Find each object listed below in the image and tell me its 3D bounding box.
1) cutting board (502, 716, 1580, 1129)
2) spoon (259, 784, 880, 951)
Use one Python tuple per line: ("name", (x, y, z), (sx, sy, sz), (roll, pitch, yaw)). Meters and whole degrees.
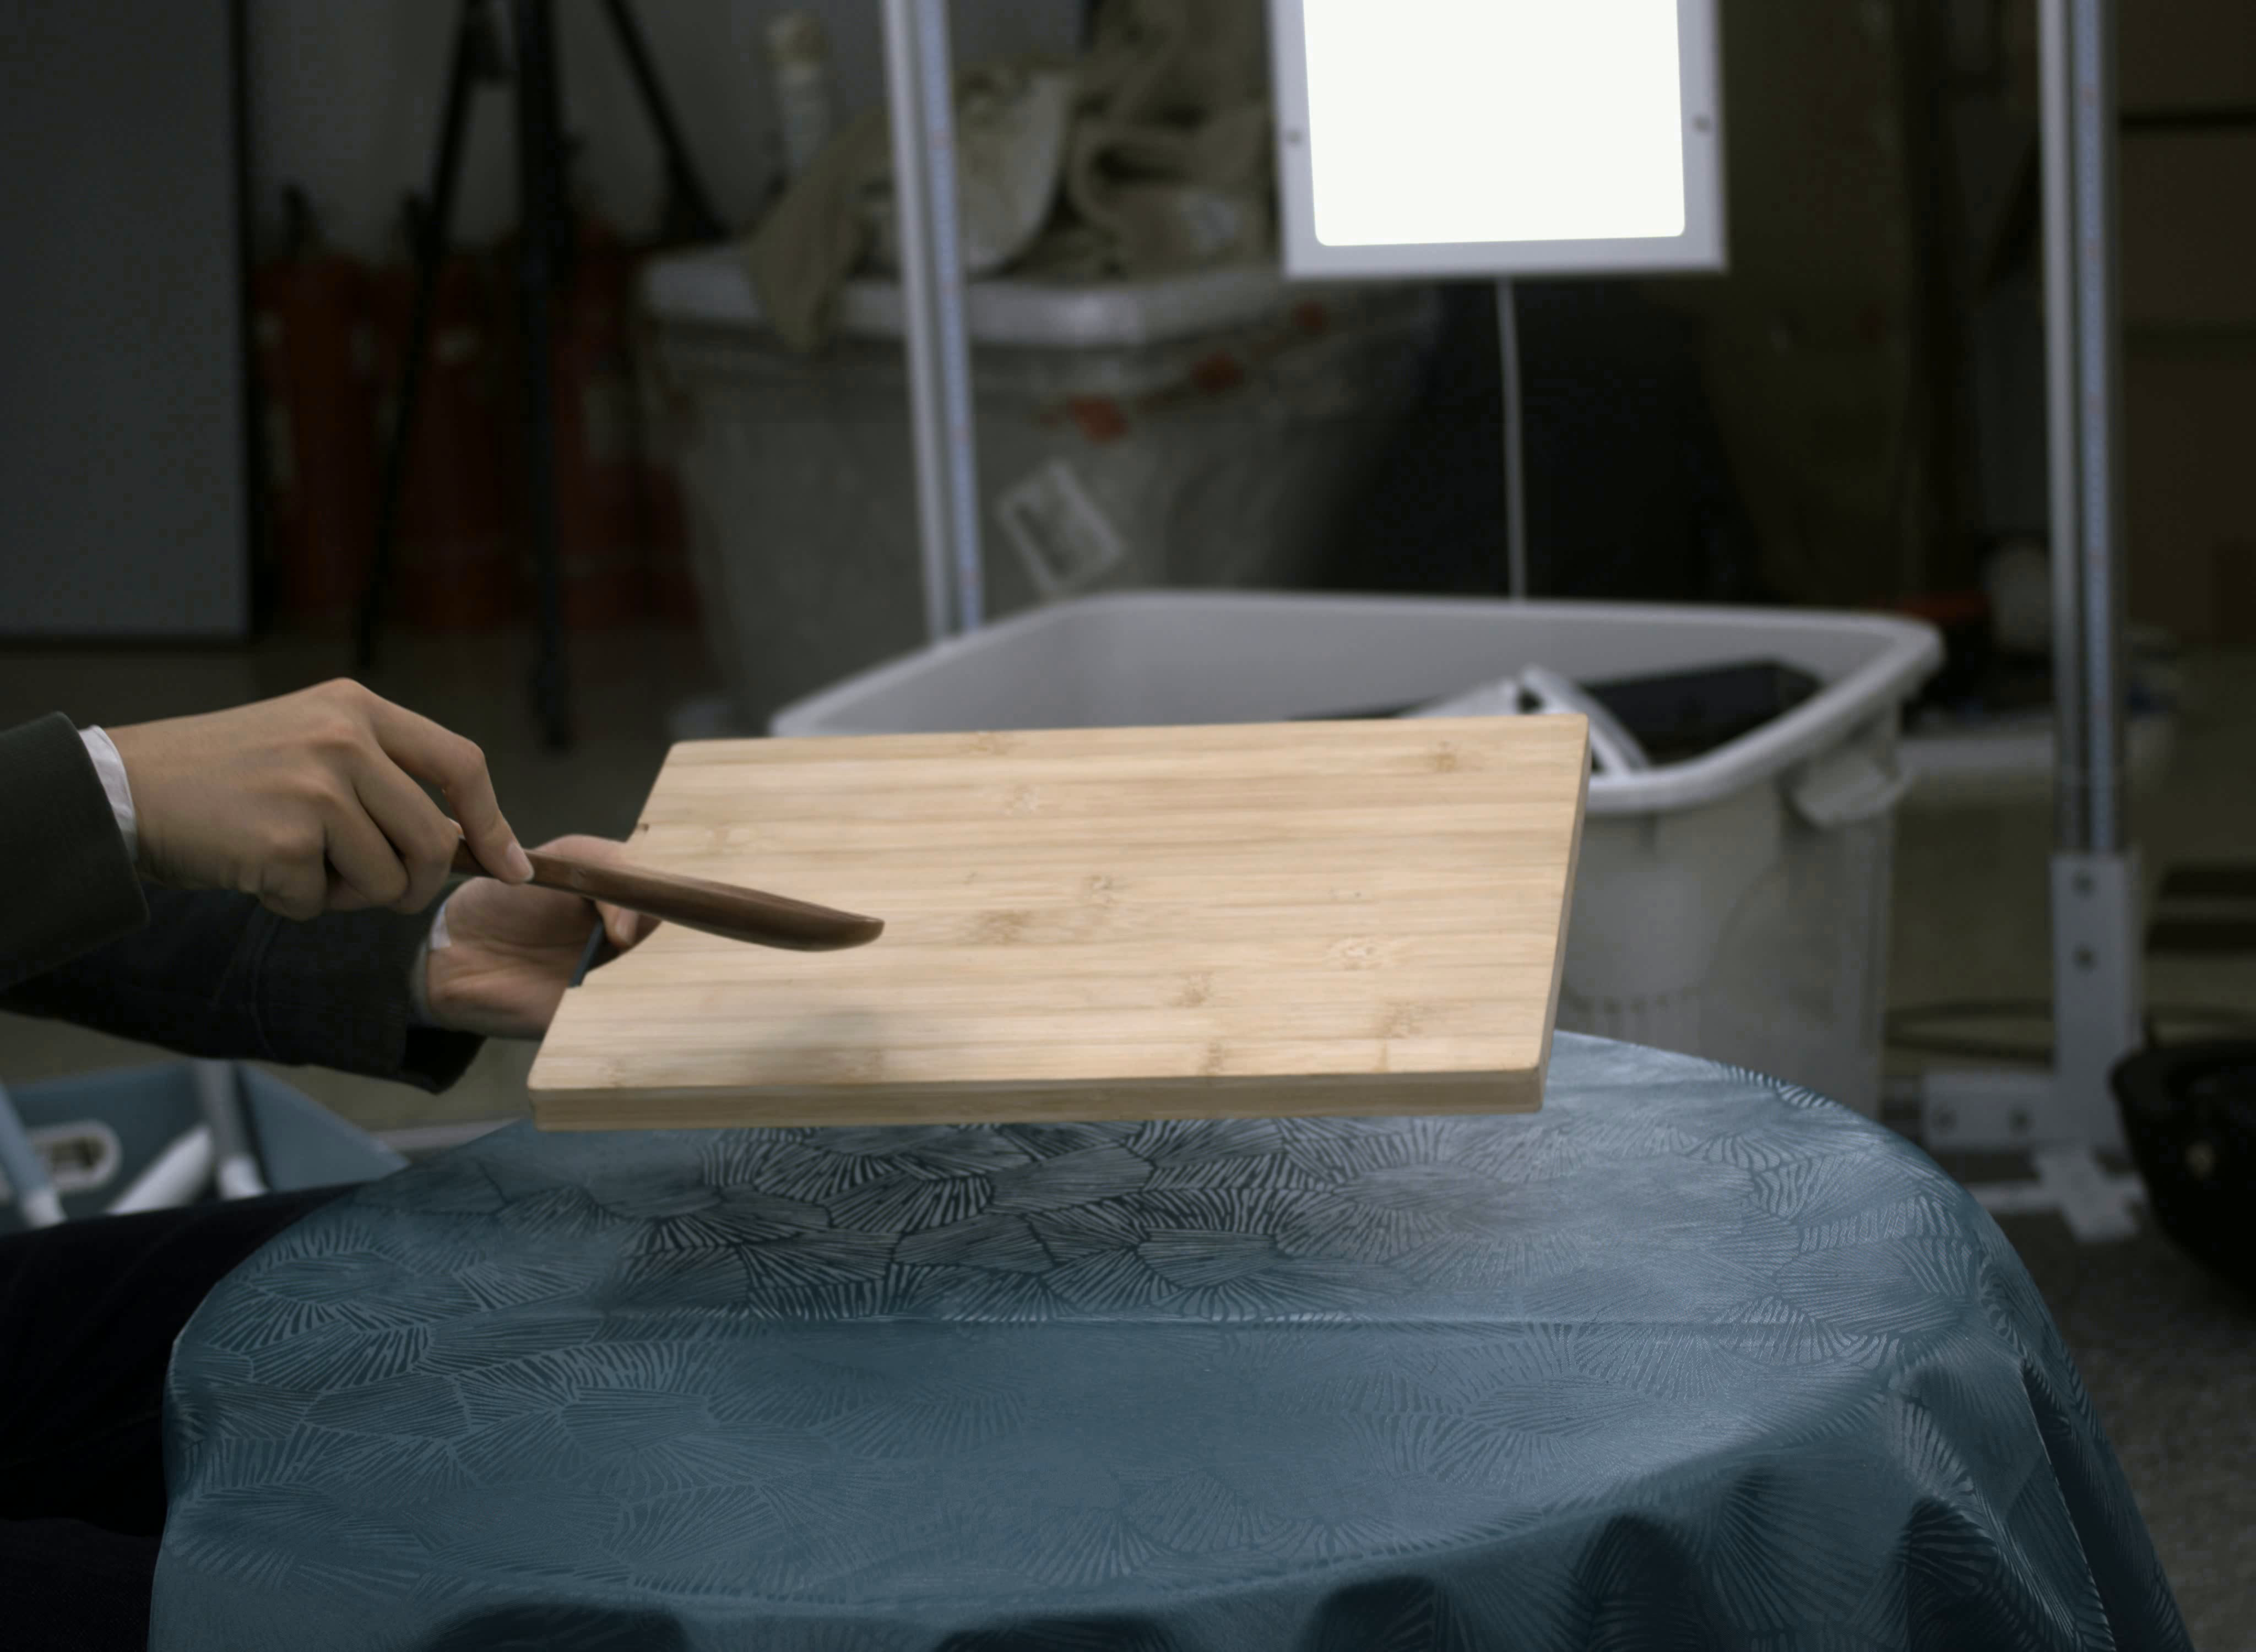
("cutting board", (-0.023, 0.032, 1.905), (0.351, 0.023, 0.248), (-2, 29, 11))
("spoon", (-0.177, 0.015, 1.768), (0.211, 0.017, 0.077), (13, 3, -28))
